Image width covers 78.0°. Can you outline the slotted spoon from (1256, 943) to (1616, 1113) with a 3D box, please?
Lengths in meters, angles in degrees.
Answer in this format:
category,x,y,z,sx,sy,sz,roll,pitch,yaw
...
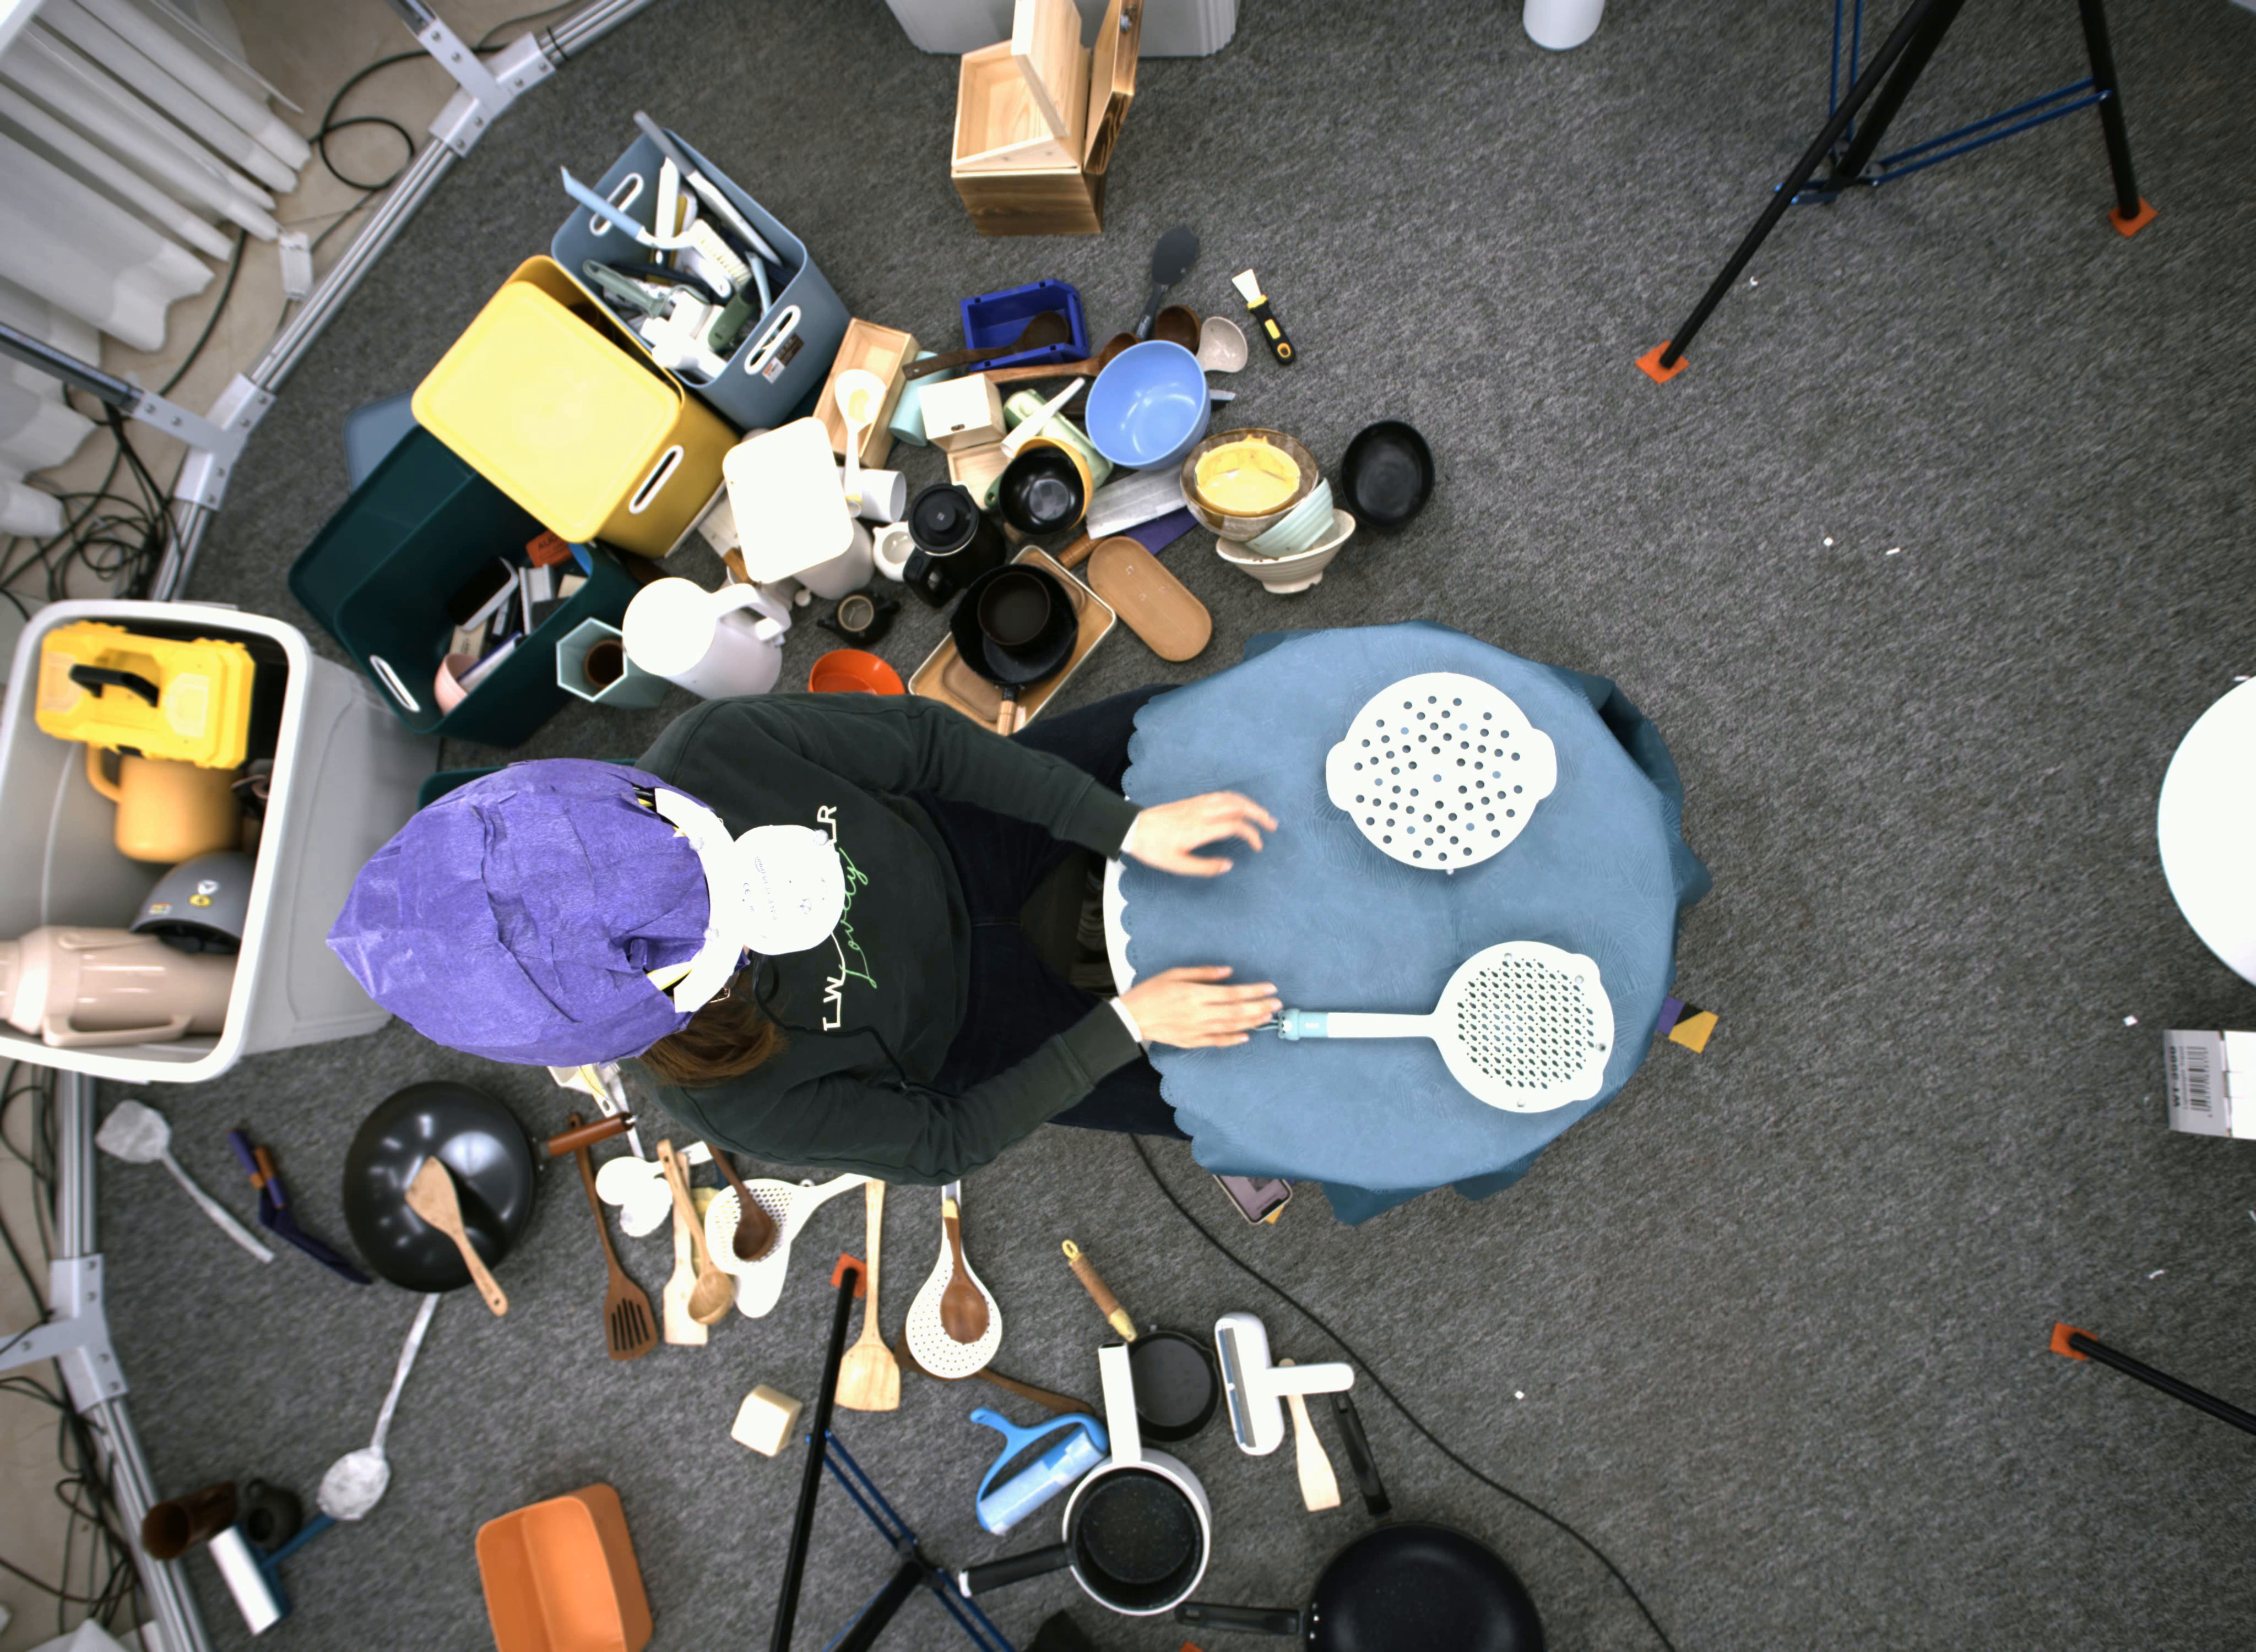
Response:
category,x,y,z,sx,sy,sz,roll,pitch,yaw
slotted spoon,0.308,0.204,1.416,0.360,0.075,0.168,-1,86,10

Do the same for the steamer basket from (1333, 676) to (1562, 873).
category,x,y,z,sx,sy,sz,roll,pitch,yaw
steamer basket,0.330,-0.053,1.430,0.231,0.069,0.200,-4,84,10
